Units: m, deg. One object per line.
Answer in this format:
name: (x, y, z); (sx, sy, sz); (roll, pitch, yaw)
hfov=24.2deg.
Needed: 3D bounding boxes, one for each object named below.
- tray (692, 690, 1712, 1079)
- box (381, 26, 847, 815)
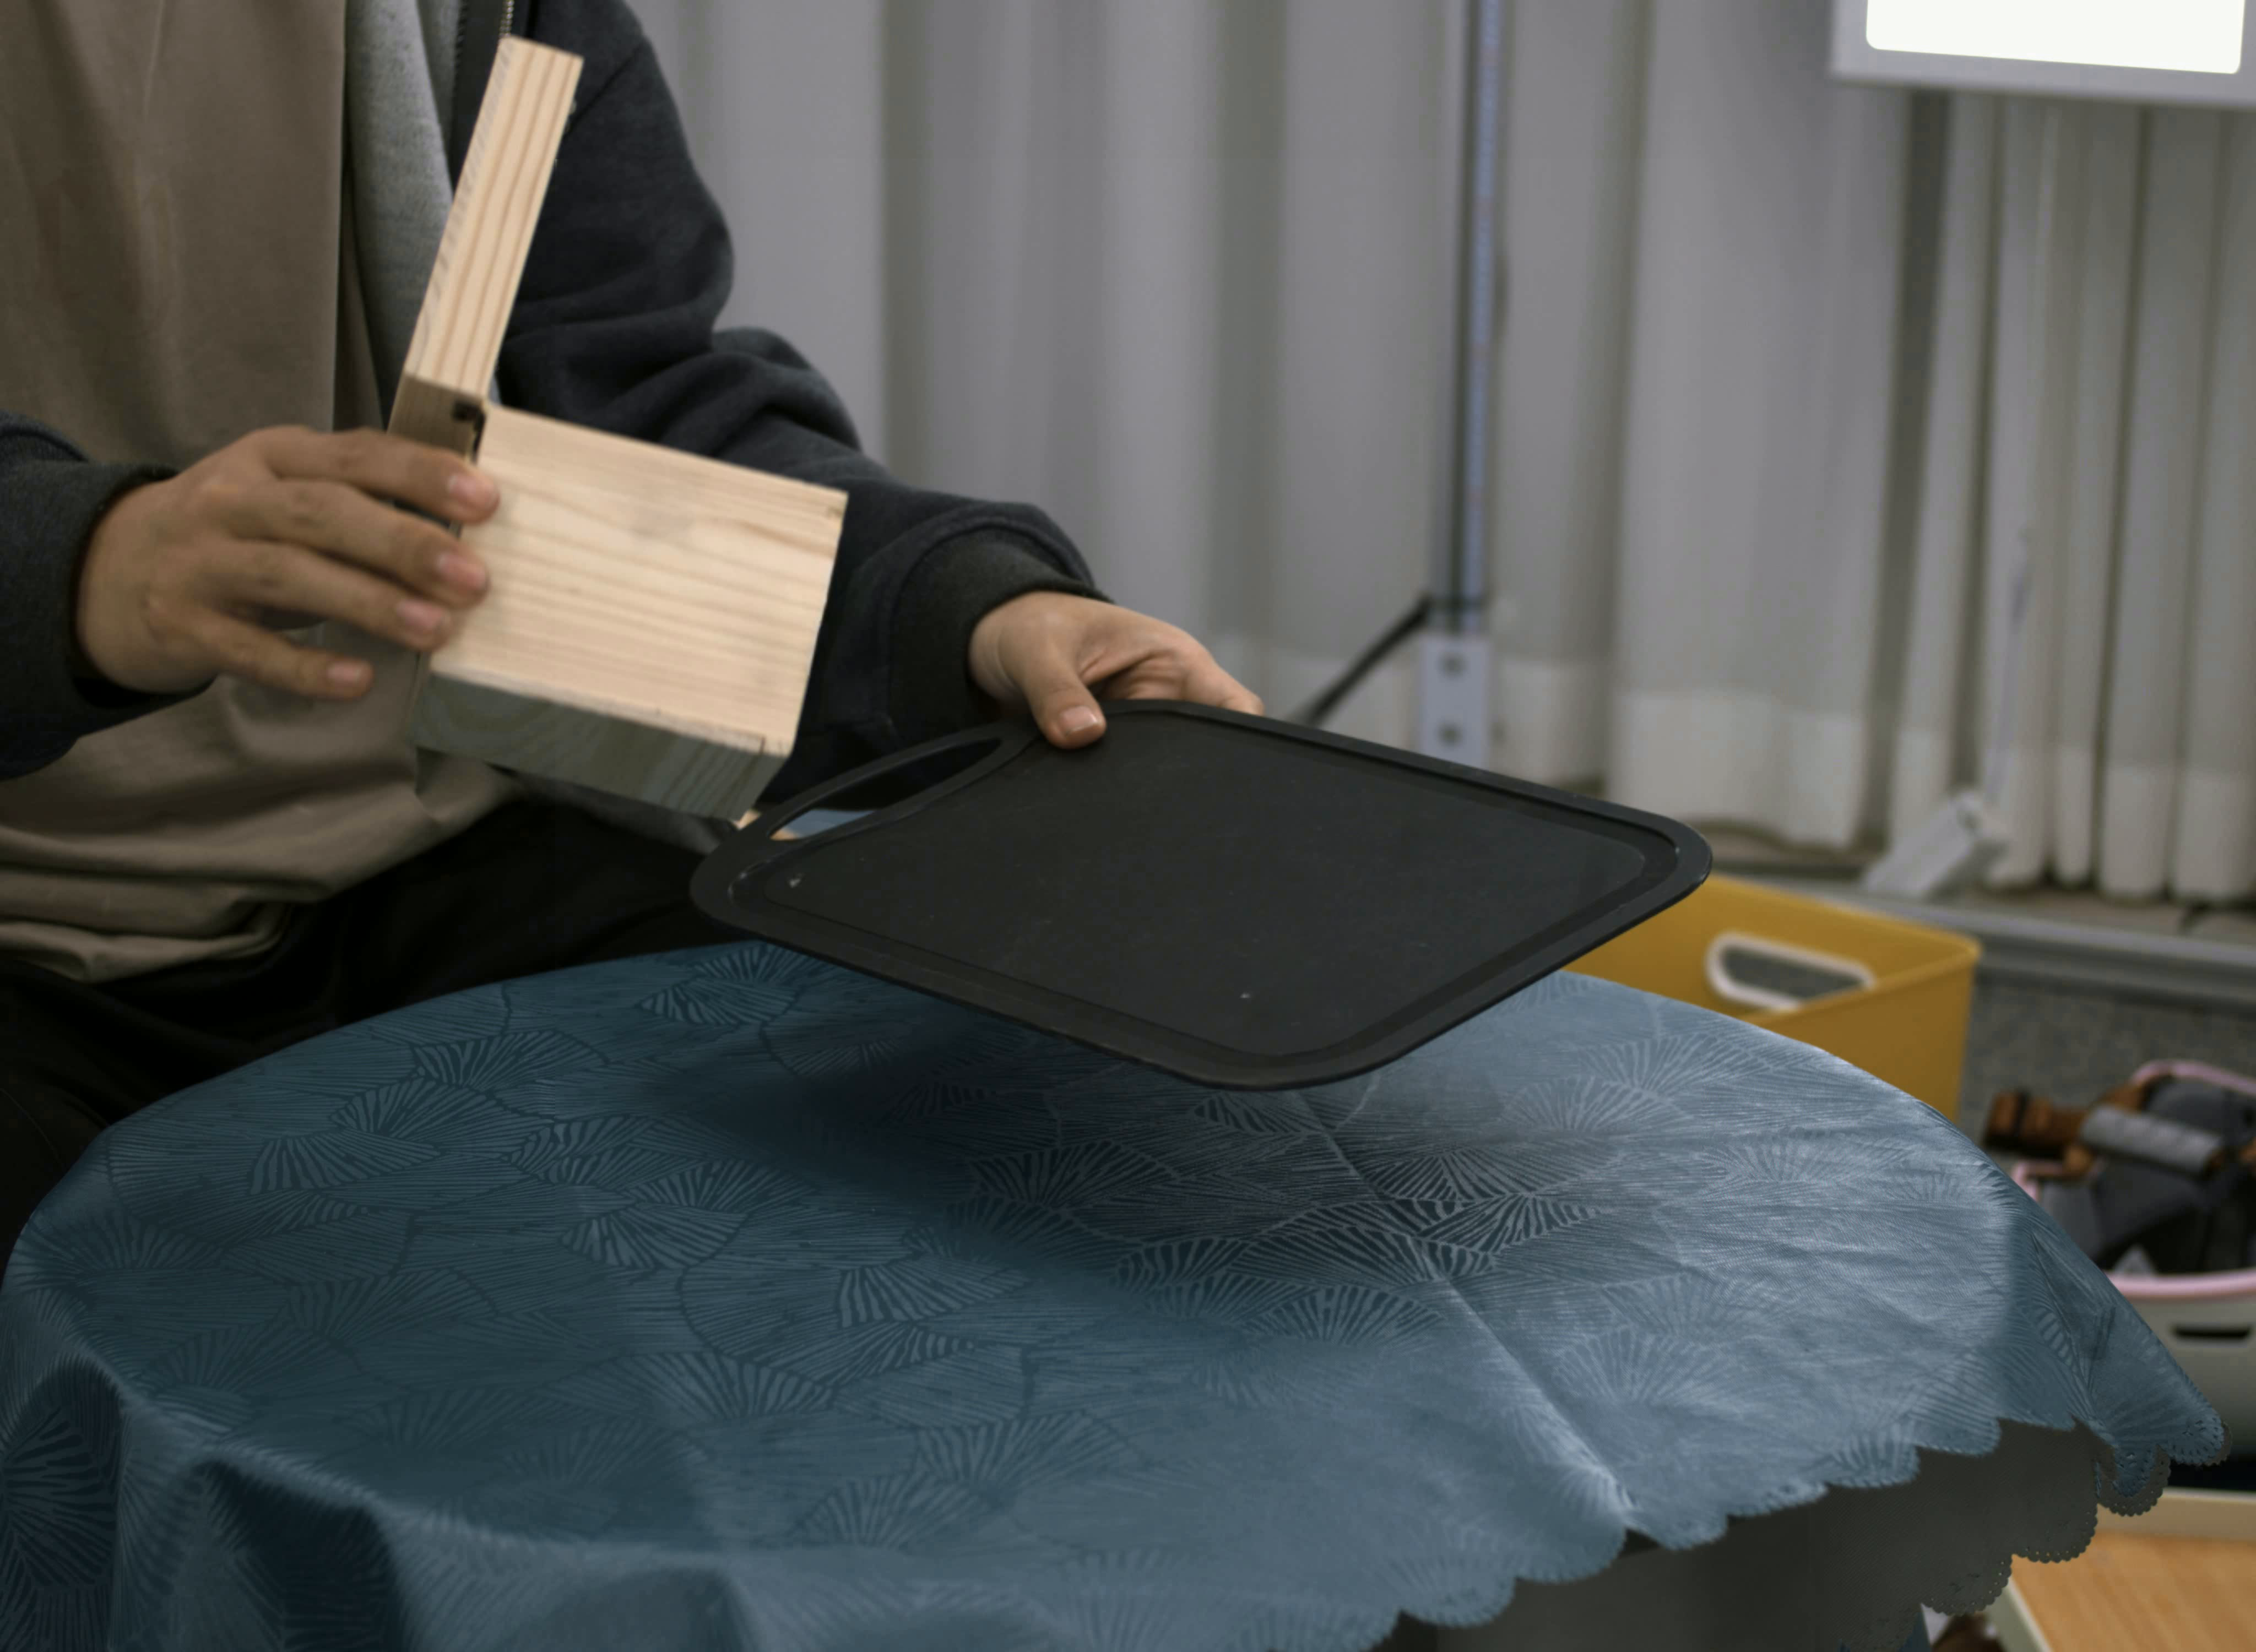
tray: (0.012, 0.011, 1.665); (0.211, 0.010, 0.321); (-26, 28, -37)
box: (-0.140, -0.112, 1.471); (0.134, 0.184, 0.102); (12, -10, -10)
